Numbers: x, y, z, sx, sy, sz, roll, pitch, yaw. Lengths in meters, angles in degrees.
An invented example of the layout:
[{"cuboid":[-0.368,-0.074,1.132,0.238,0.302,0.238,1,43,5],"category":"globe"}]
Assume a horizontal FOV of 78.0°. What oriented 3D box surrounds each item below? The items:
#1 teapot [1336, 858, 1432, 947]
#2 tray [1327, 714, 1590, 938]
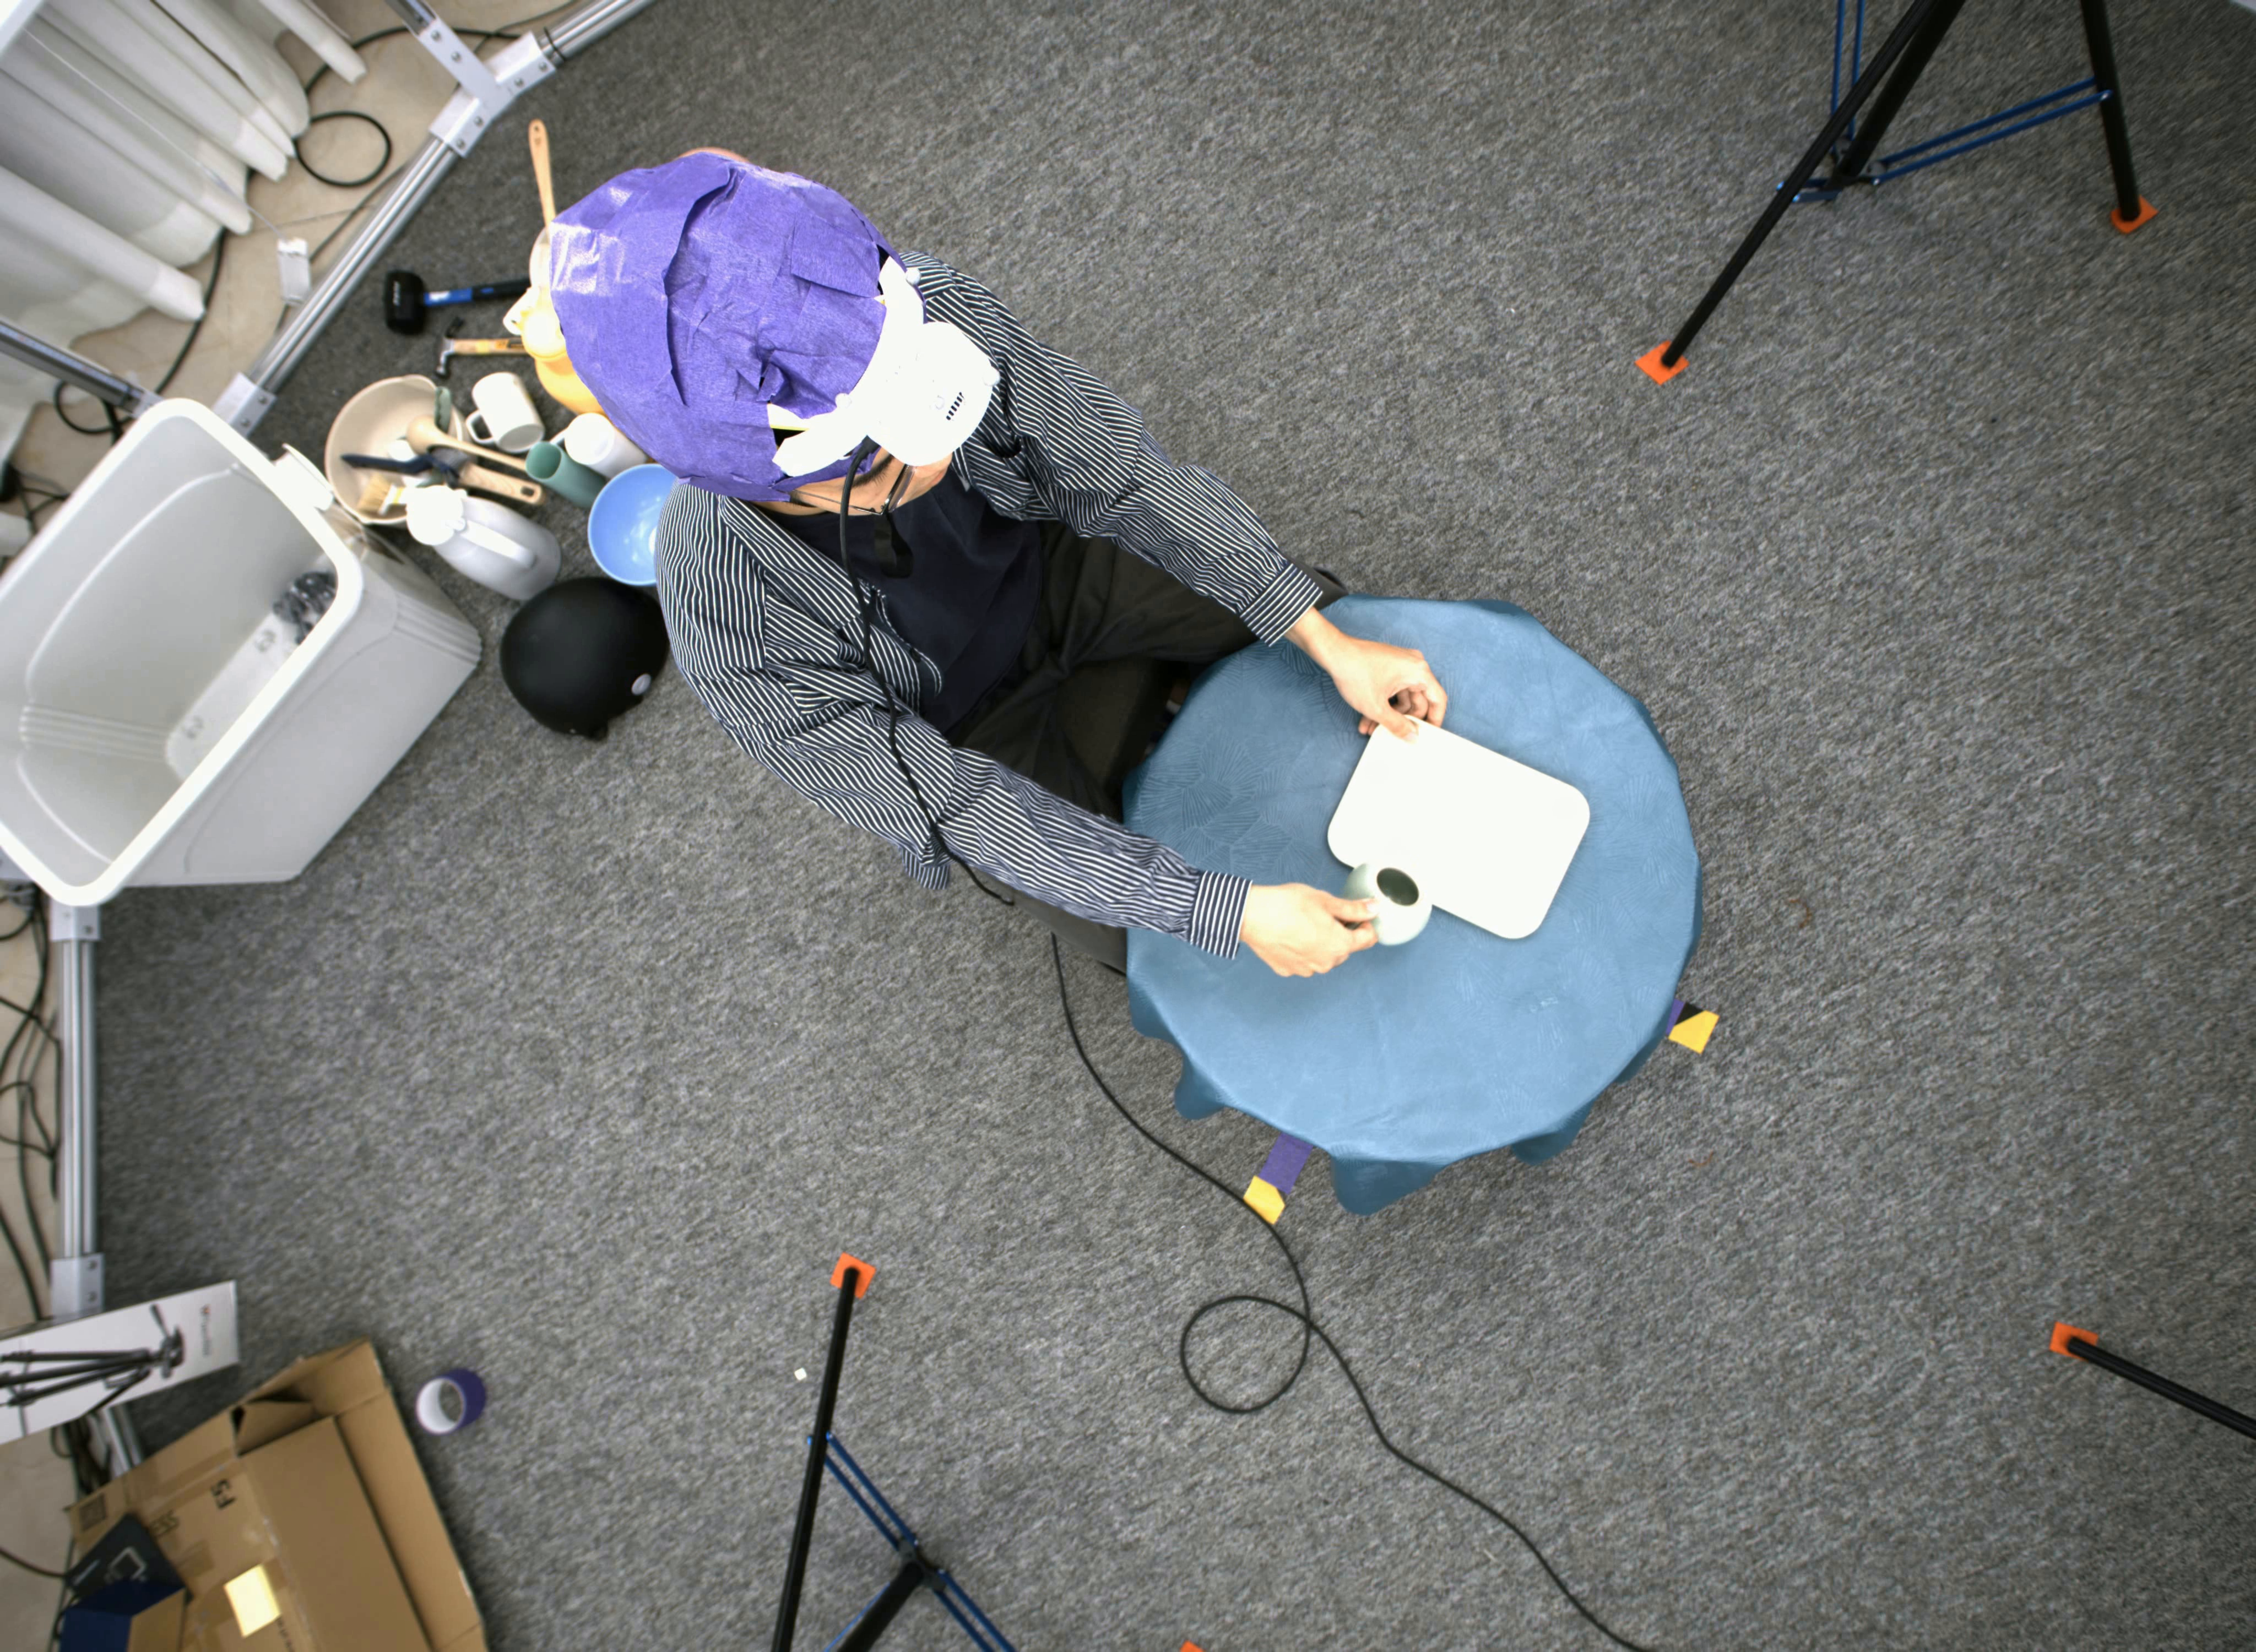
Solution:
[{"cuboid":[0.250,0.079,1.369,0.126,0.062,0.091,-28,71,-37],"category":"teapot"},{"cuboid":[0.340,-0.003,1.424,0.239,0.017,0.172,25,96,9],"category":"tray"}]
